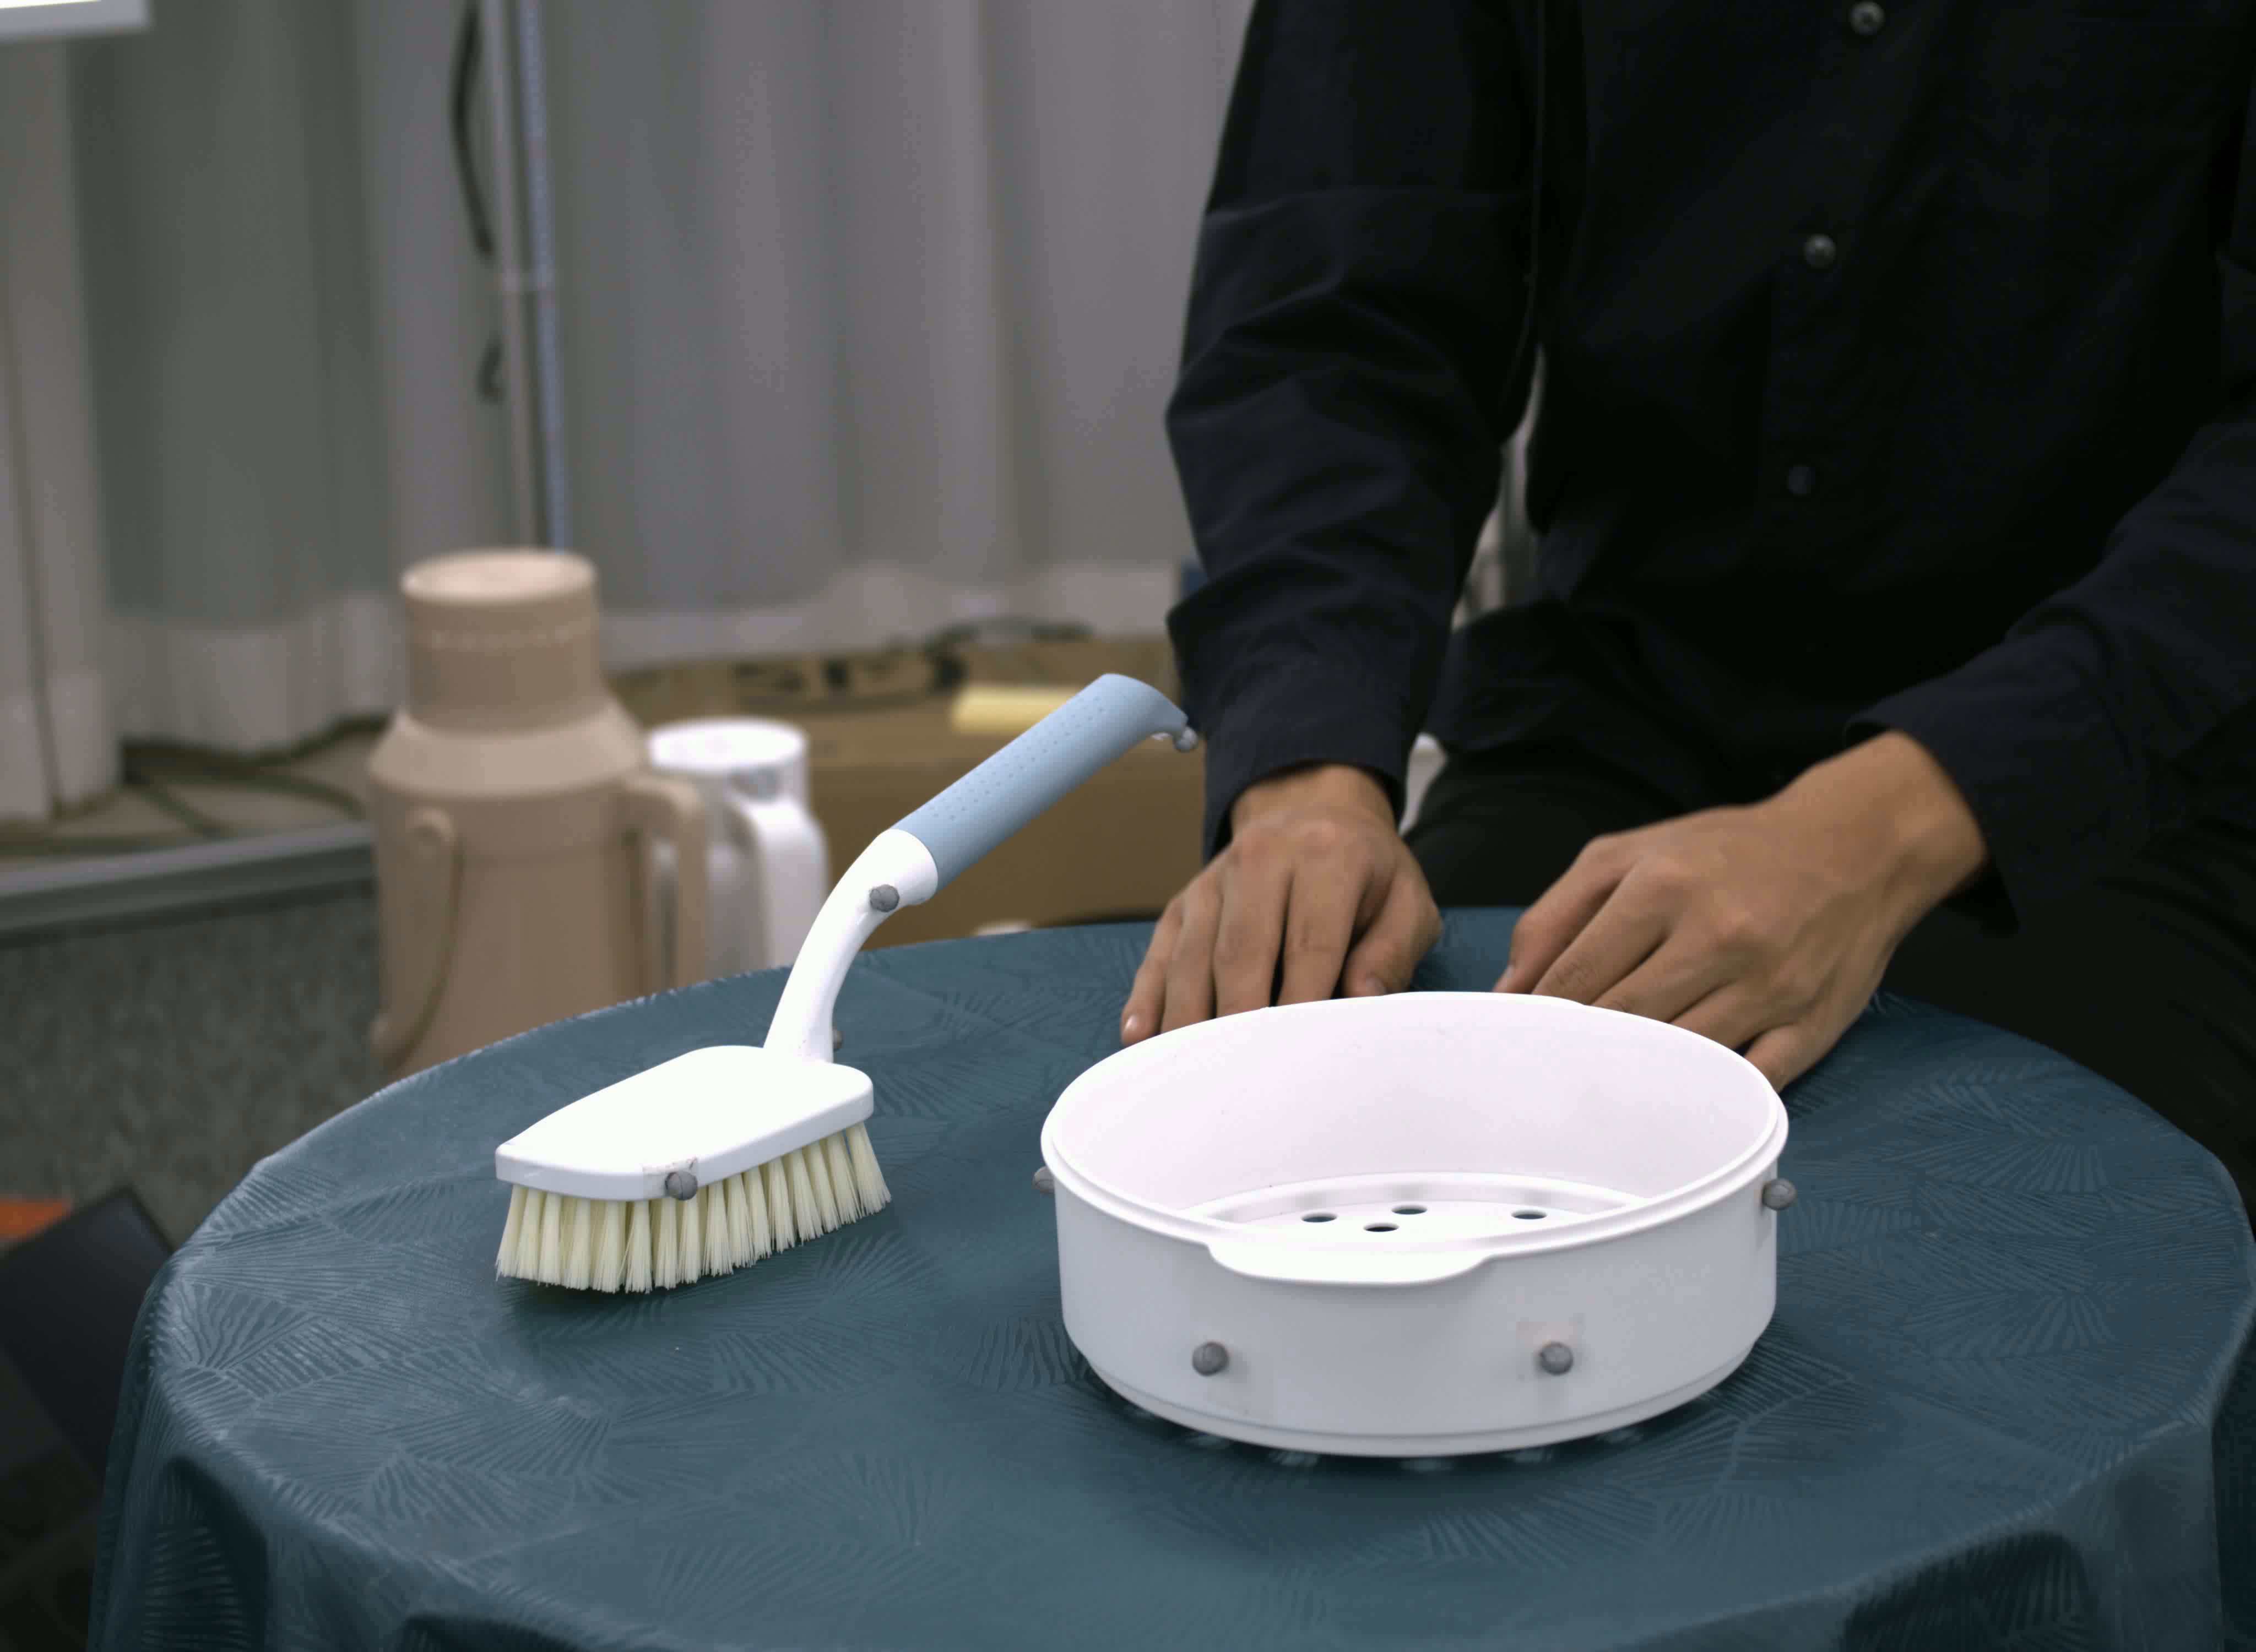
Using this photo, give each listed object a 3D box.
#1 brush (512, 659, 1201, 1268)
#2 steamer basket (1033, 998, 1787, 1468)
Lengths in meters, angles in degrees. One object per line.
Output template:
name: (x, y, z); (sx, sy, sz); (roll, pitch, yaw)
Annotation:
brush: (-0.068, 0.056, 1.607); (0.084, 0.085, 0.320); (41, 45, 13)
steamer basket: (0.076, 0.109, 1.427); (0.203, 0.069, 0.229); (2, 17, 14)
